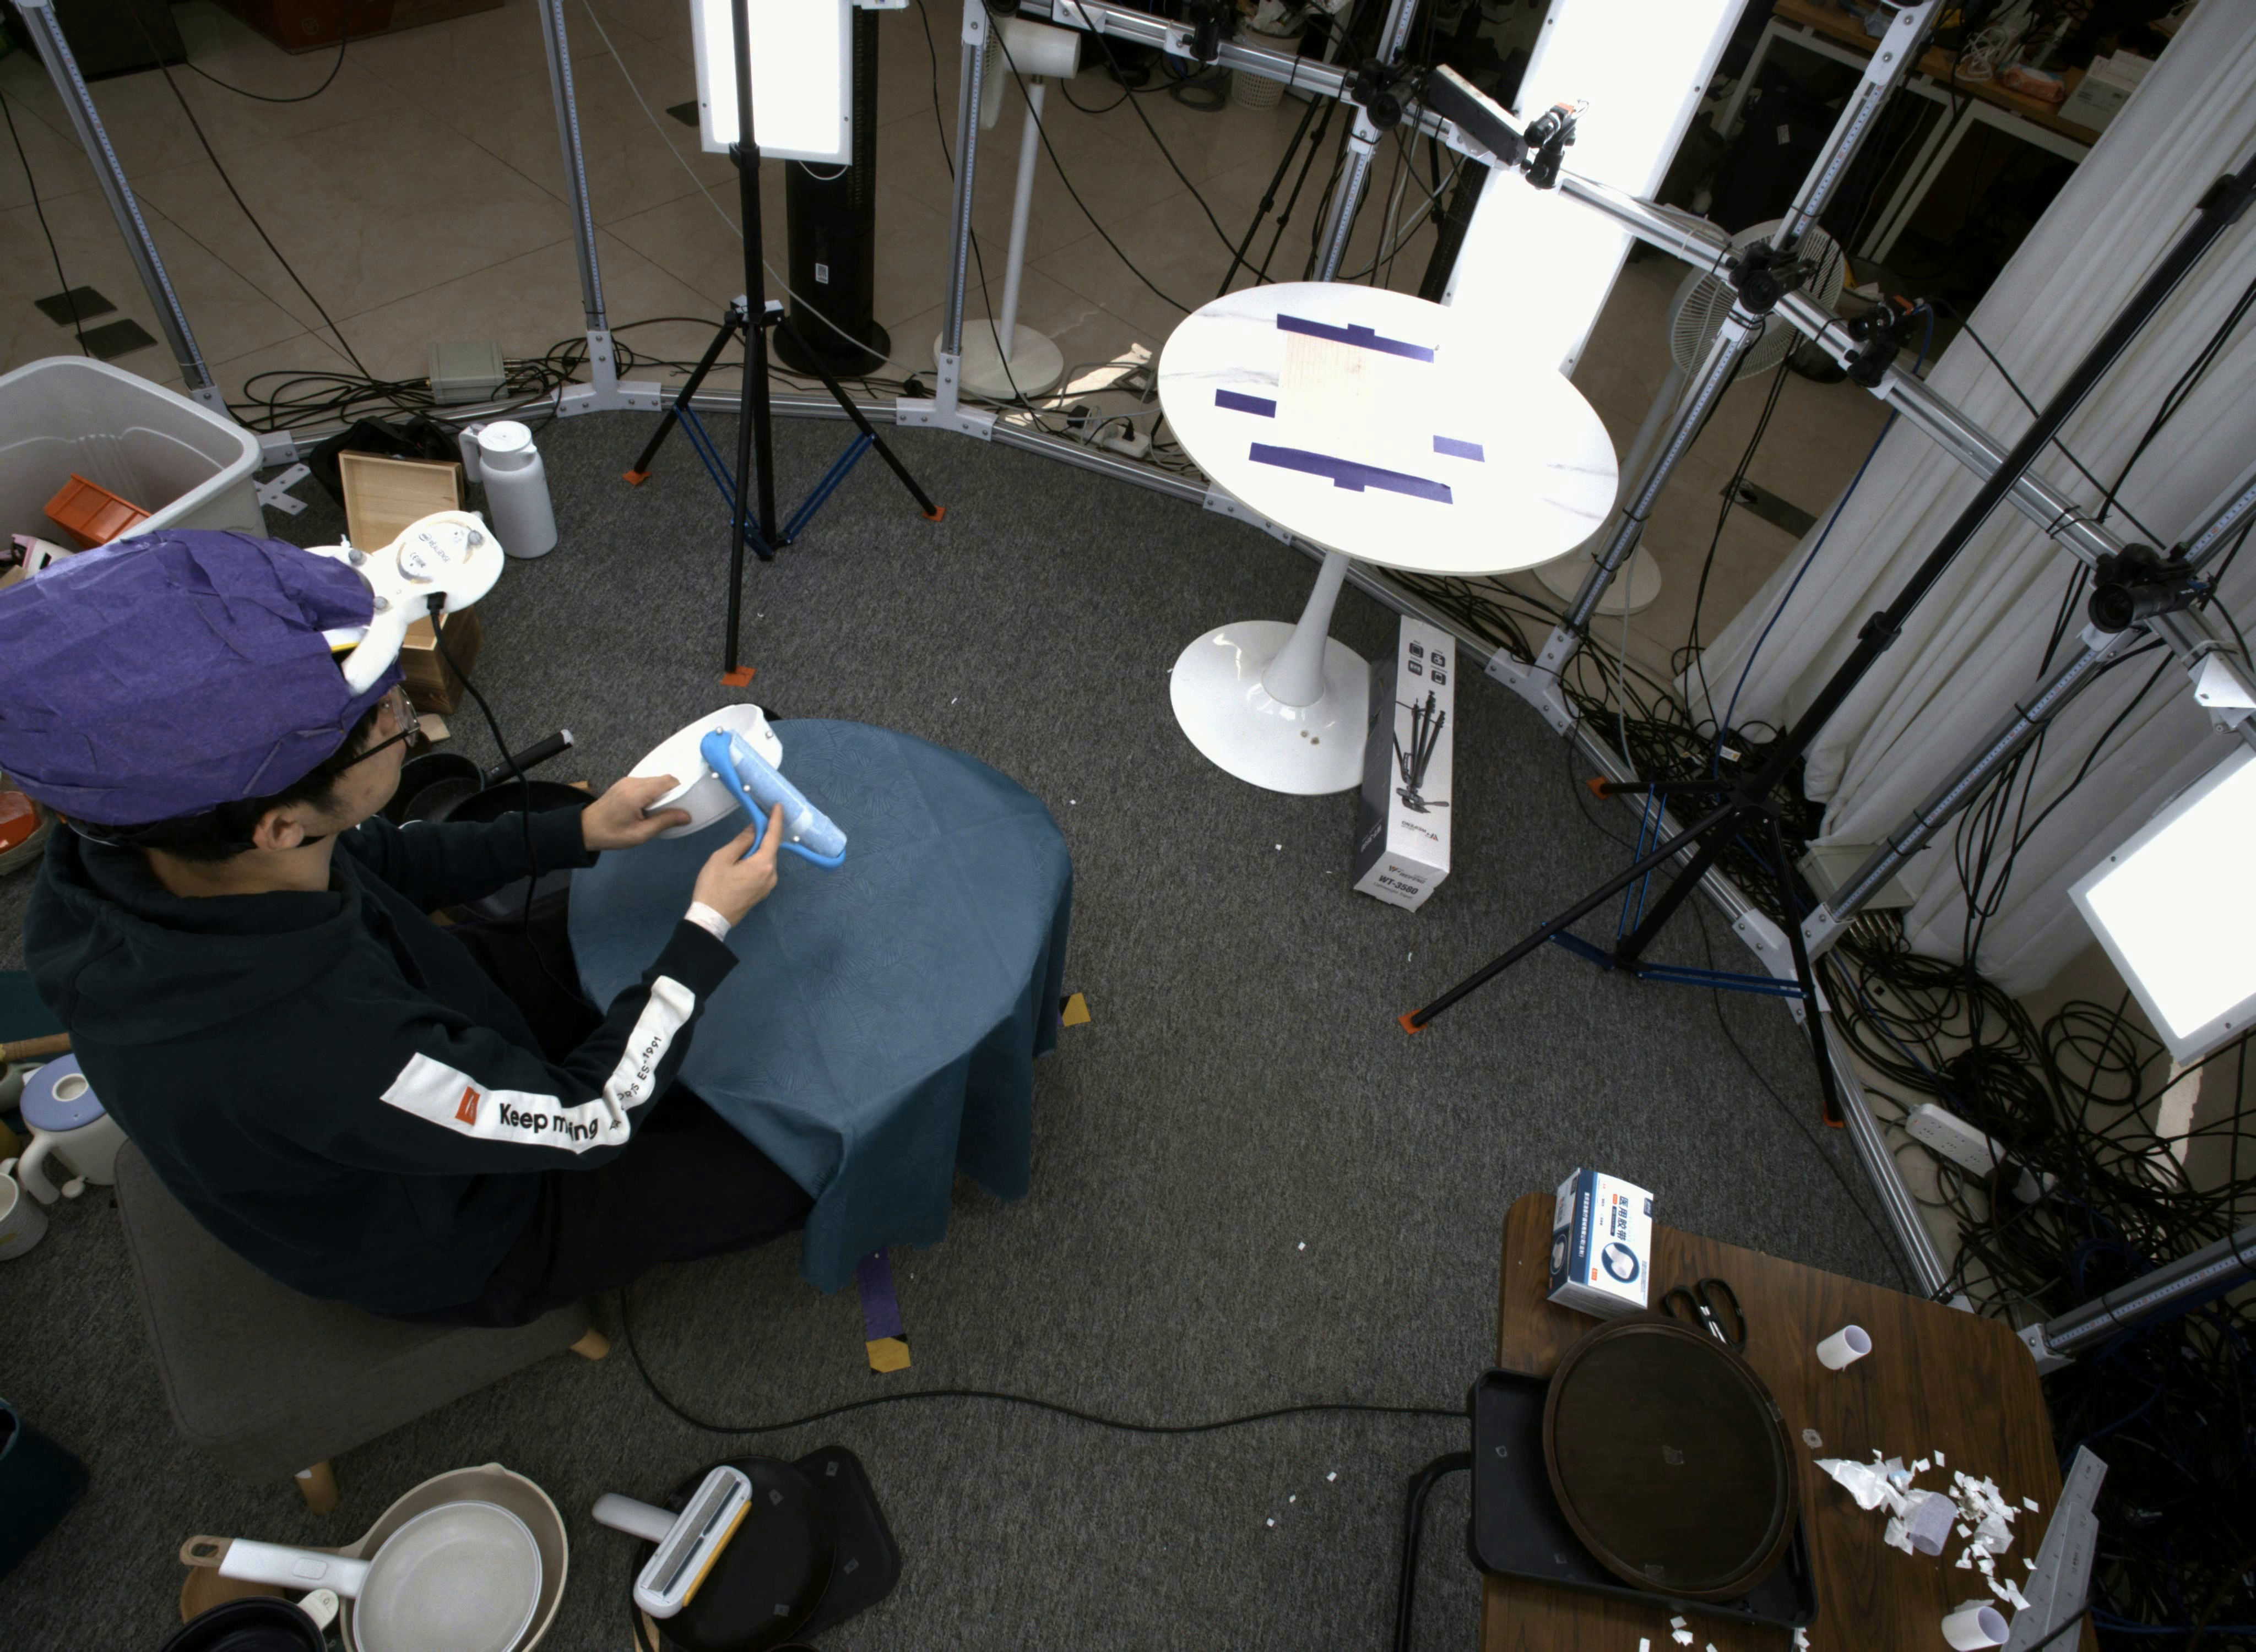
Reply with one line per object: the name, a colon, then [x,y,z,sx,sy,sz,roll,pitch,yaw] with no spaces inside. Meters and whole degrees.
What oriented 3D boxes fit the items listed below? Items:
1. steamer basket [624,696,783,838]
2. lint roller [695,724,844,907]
steamer basket: [-0.519,-0.071,1.580,0.199,0.072,0.225,-22,32,14]
lint roller: [-0.429,0.011,1.481,0.066,0.238,0.178,-8,51,33]
